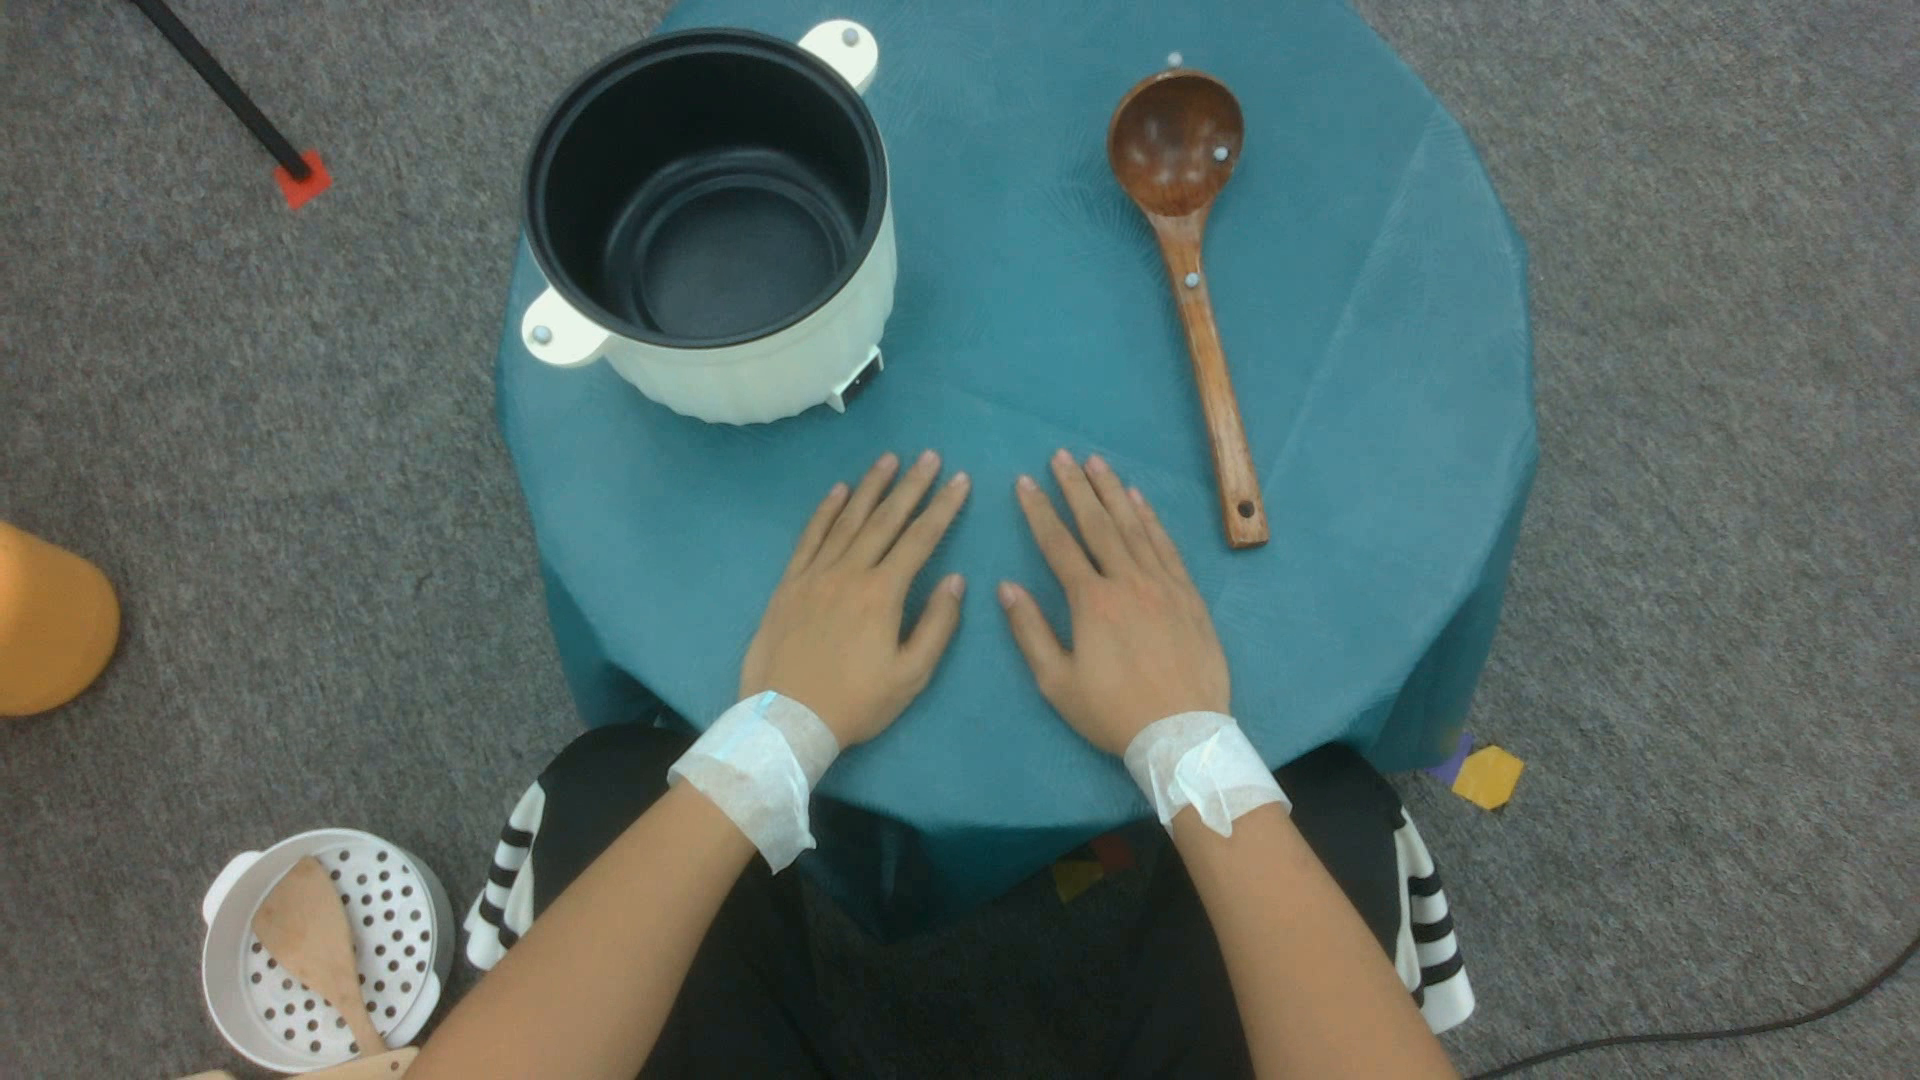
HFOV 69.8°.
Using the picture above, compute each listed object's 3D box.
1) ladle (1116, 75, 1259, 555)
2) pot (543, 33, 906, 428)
[{"bbox_3d":[0.144,-0.132,0.775,0.082,0.076,0.275,-7,71,-2],"label":"ladle"},{"bbox_3d":[-0.124,-0.159,0.759,0.190,0.142,0.241,38,76,10],"label":"pot"}]
